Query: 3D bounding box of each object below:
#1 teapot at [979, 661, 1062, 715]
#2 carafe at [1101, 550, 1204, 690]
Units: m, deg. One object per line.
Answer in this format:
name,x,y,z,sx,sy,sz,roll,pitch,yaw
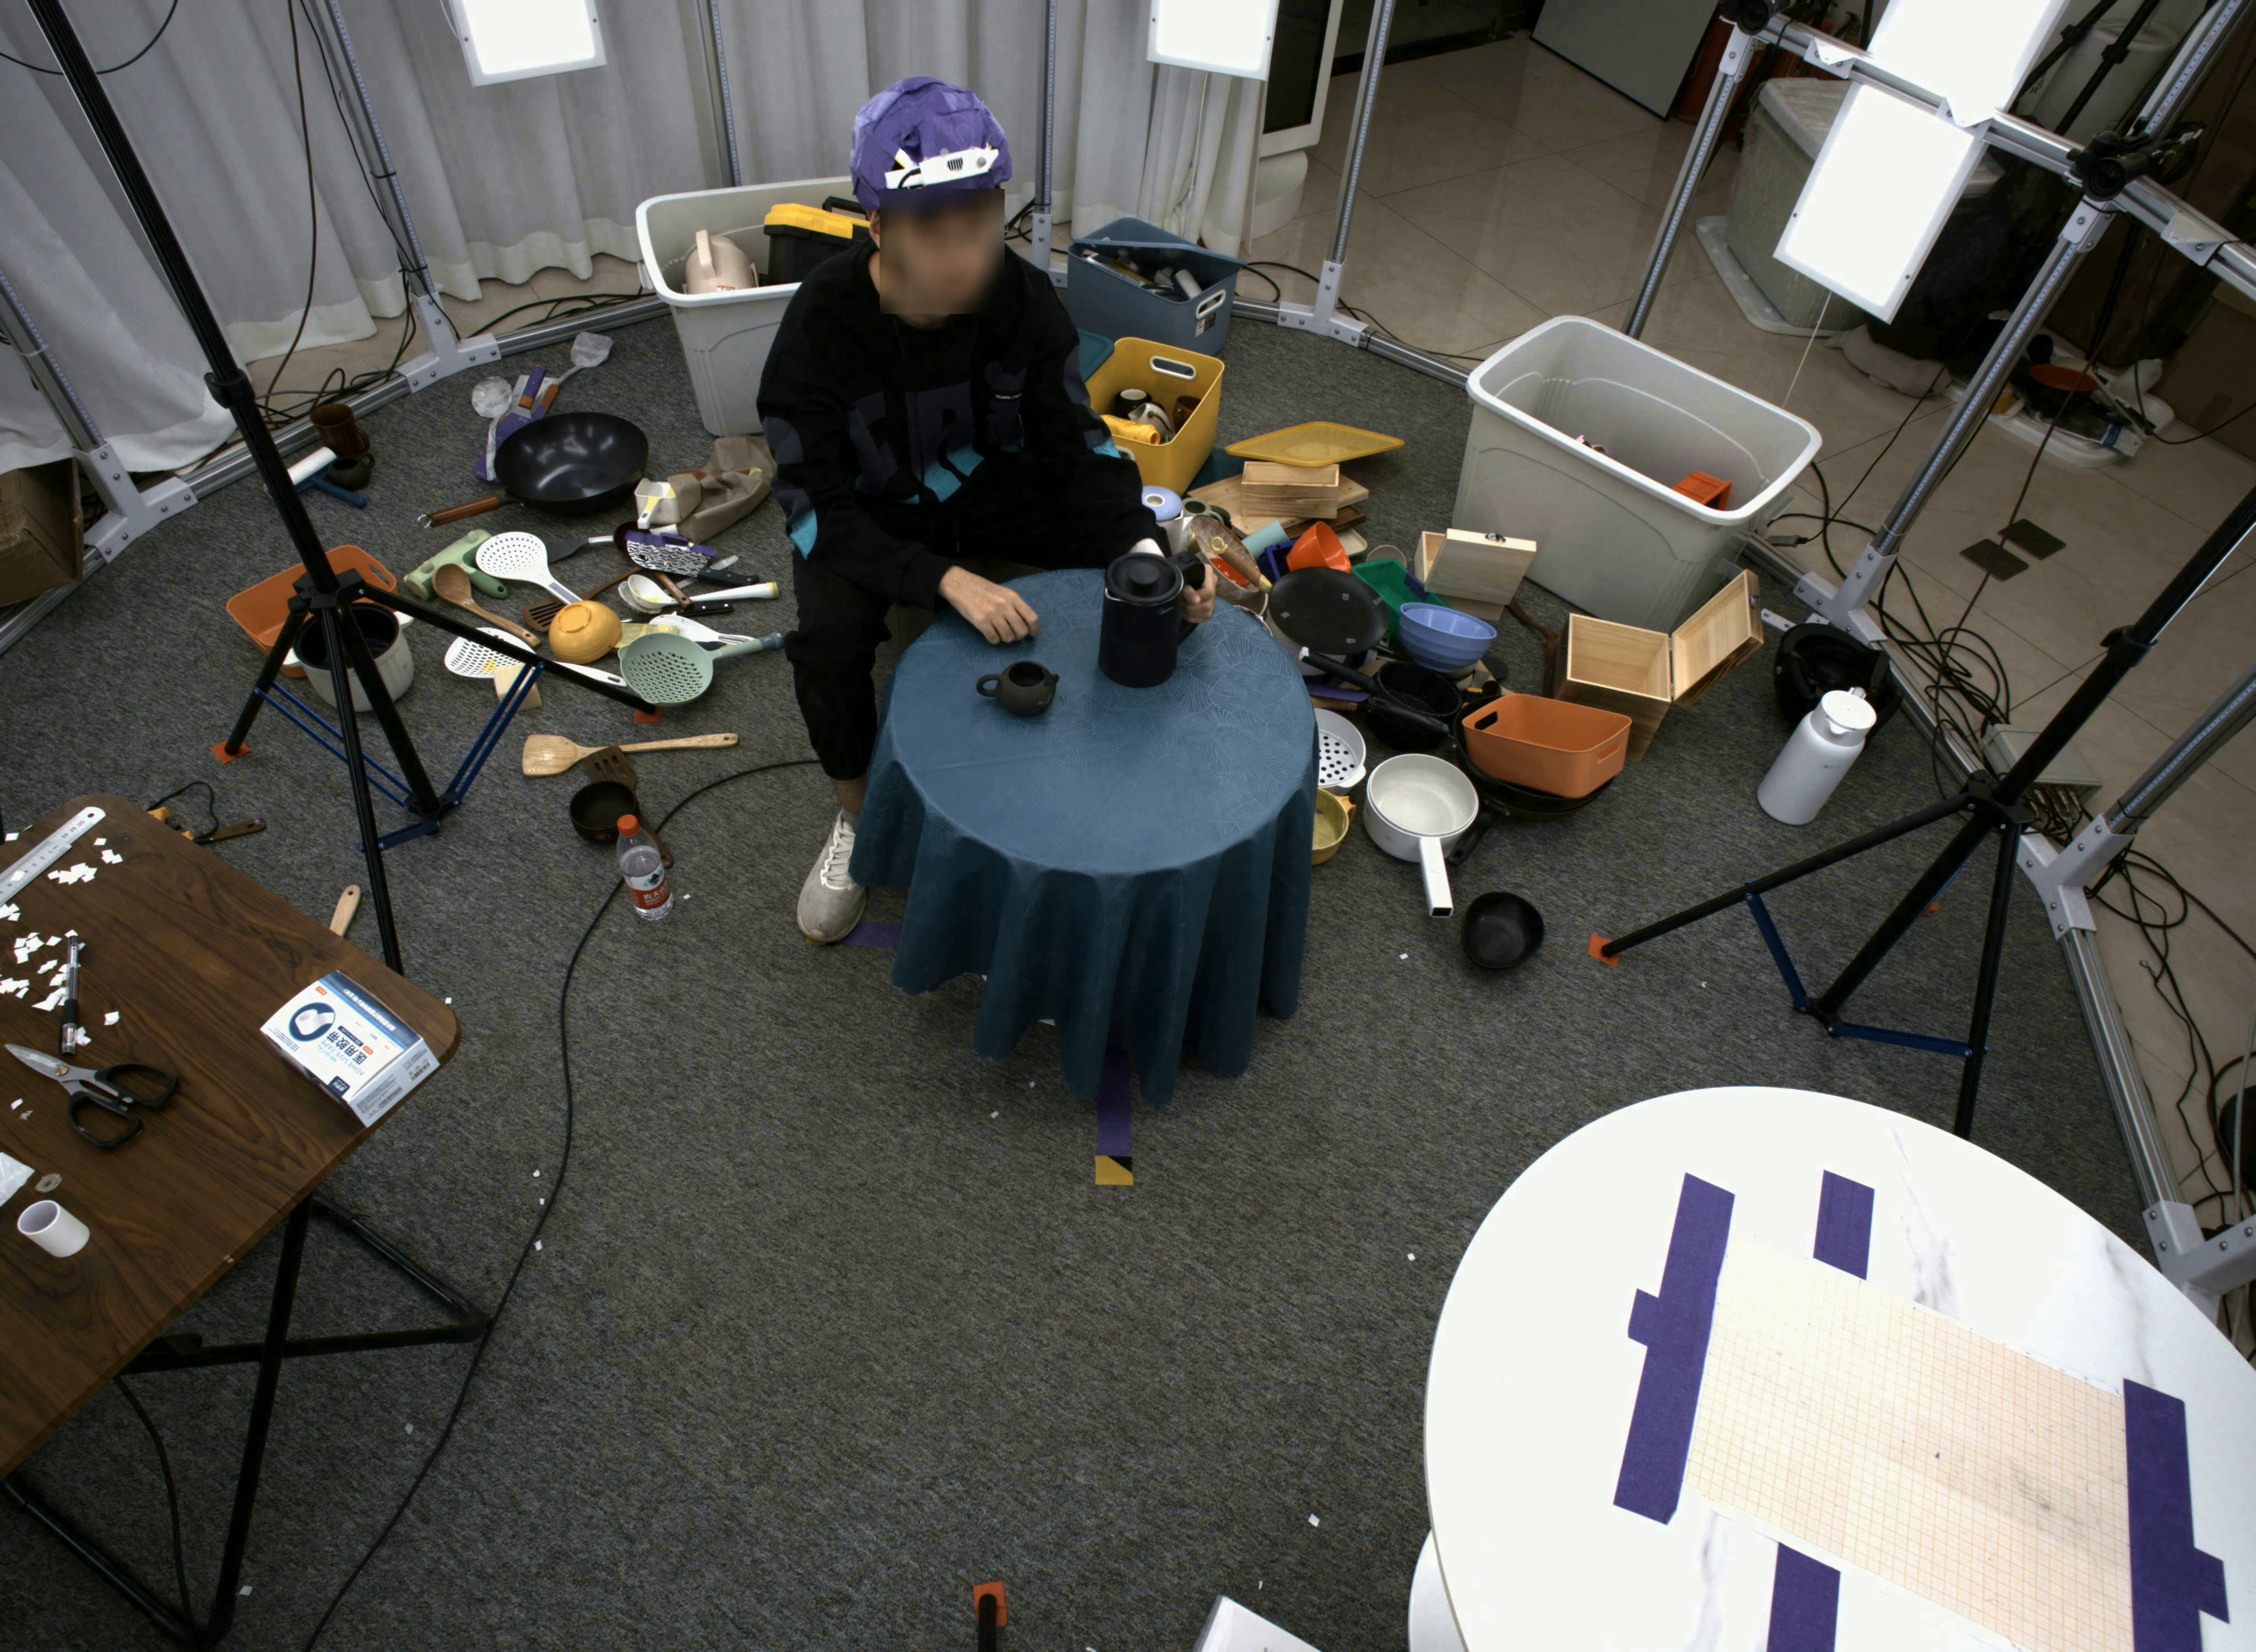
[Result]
teapot,-0.151,-0.196,1.796,0.114,0.052,0.085,5,48,-3
carafe,0.035,-0.305,1.825,0.173,0.169,0.116,-32,57,-24
